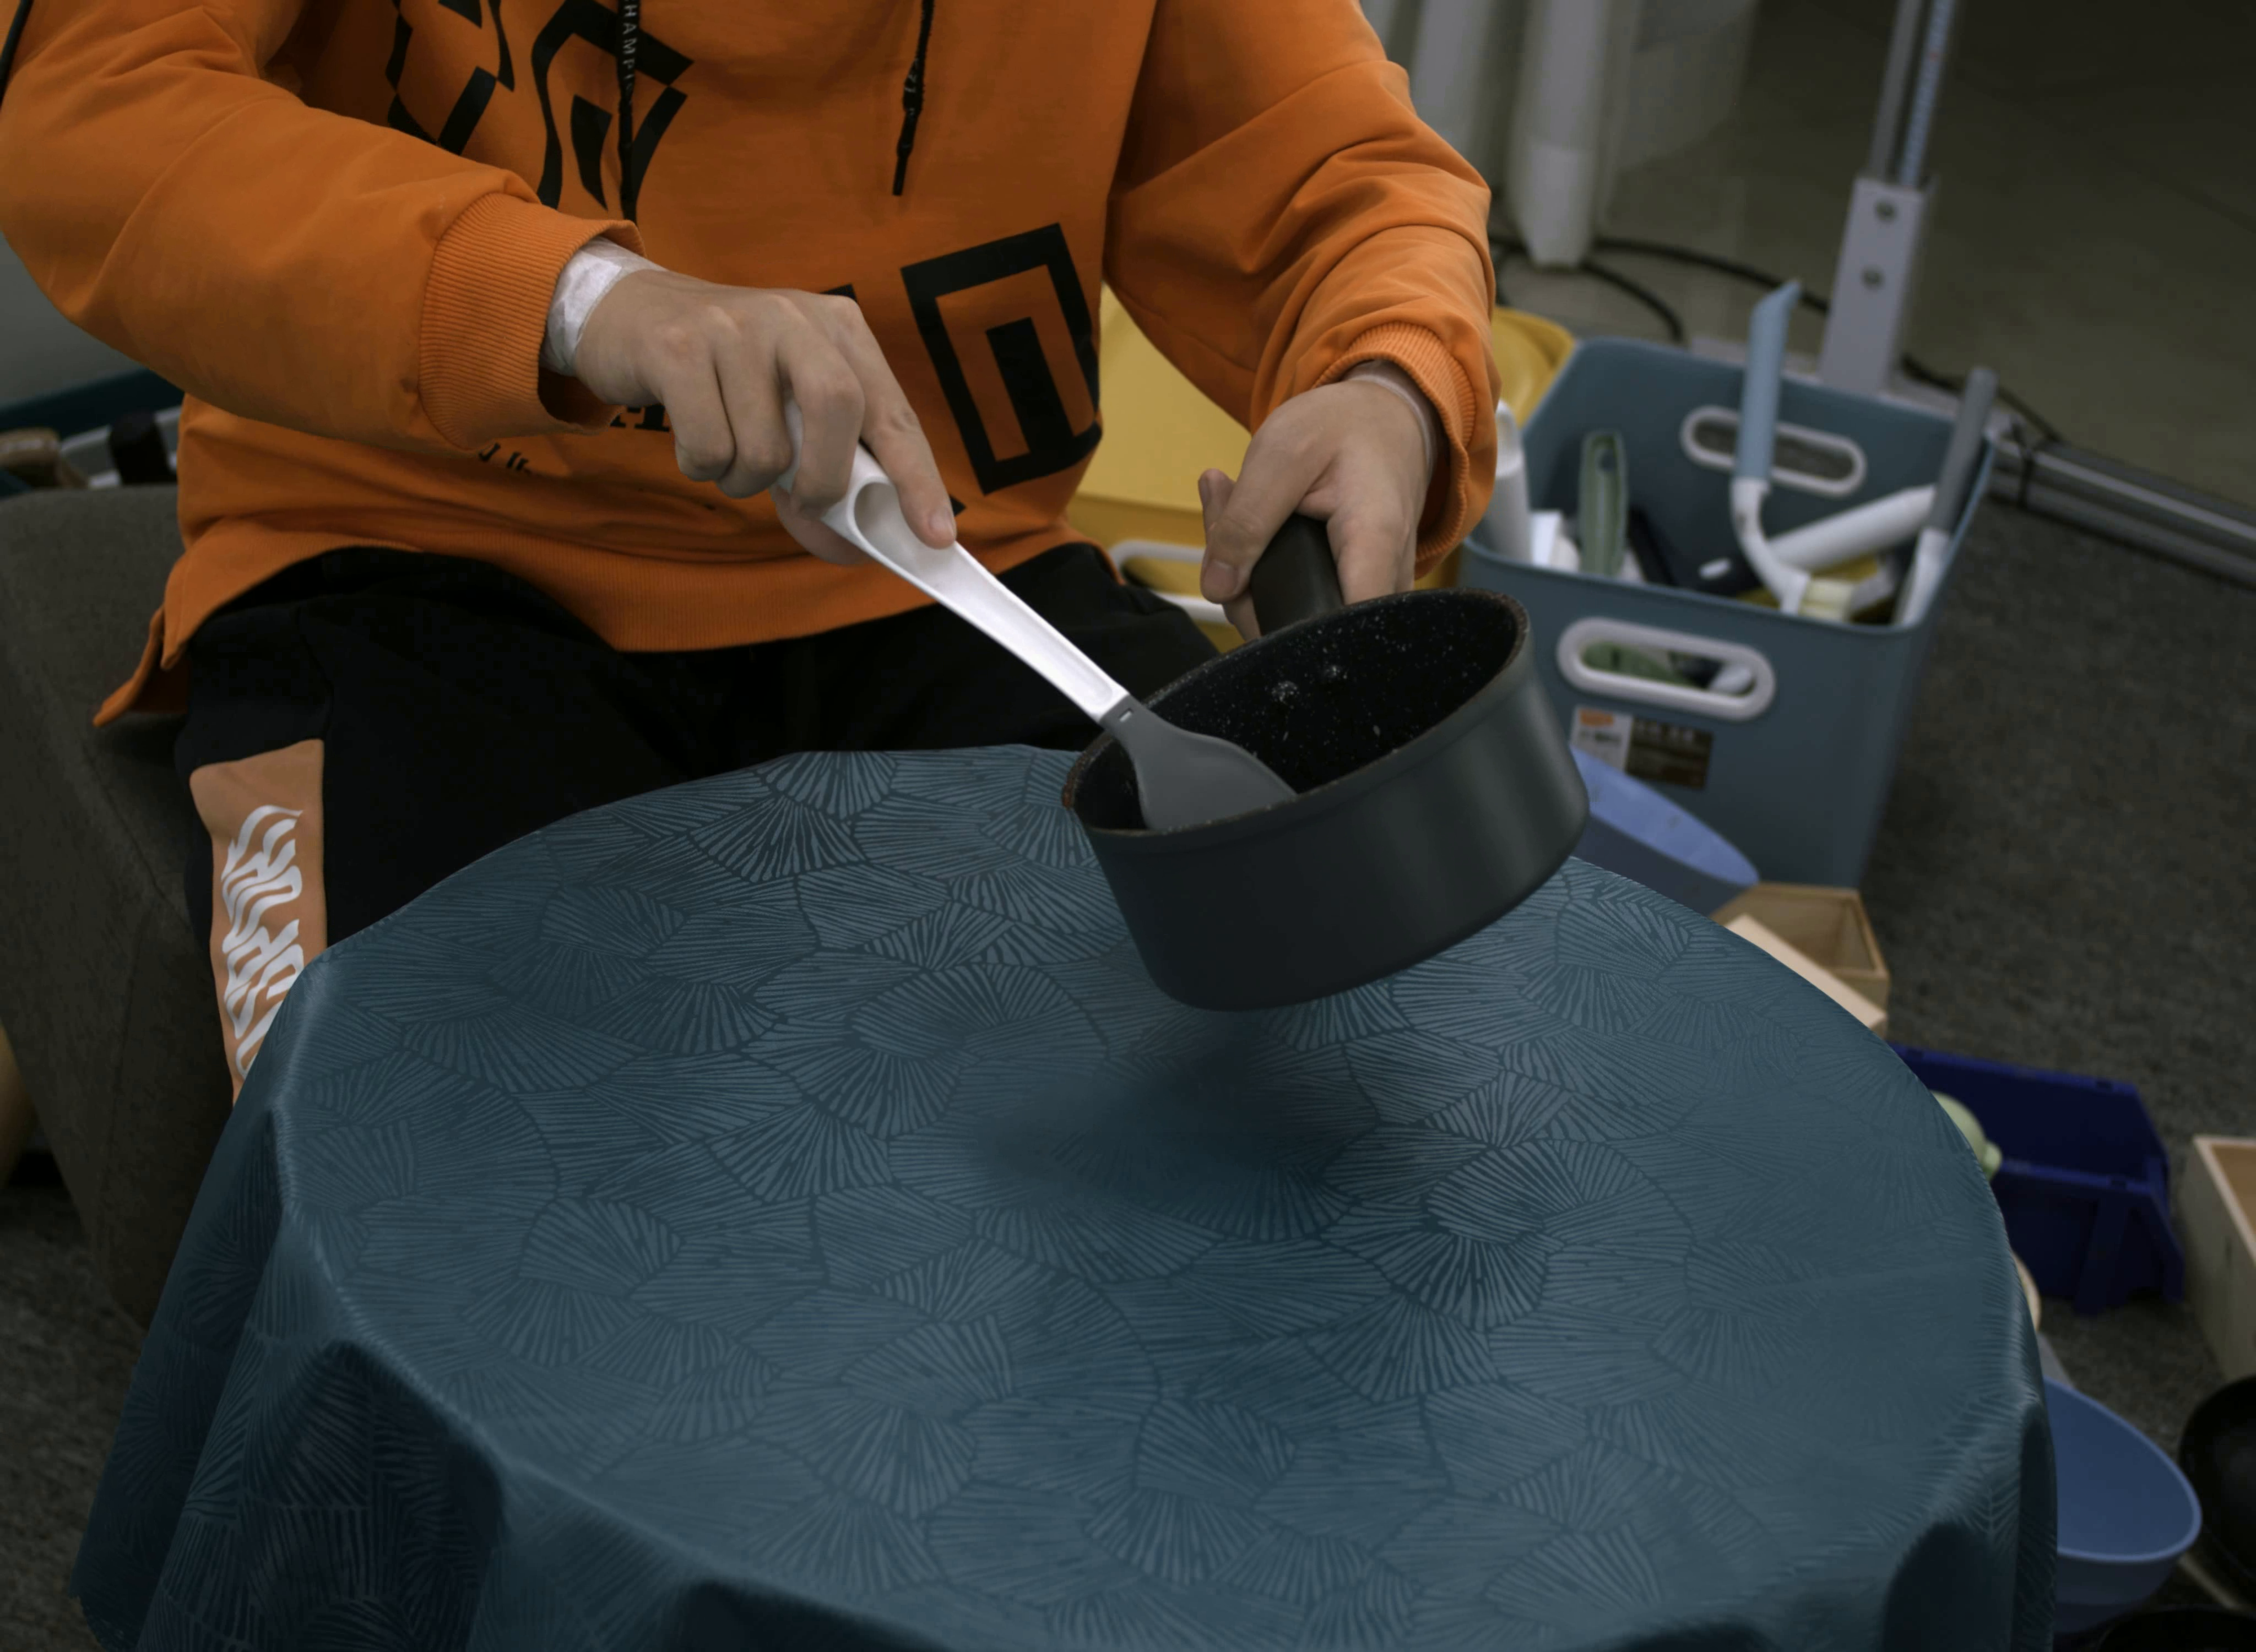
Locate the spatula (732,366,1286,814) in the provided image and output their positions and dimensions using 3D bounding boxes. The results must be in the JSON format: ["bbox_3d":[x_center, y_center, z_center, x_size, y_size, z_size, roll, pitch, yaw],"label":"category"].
[{"bbox_3d":[-0.029,-0.058,1.837,0.058,0.032,0.289,-39,71,-23],"label":"spatula"}]

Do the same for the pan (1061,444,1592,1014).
[{"bbox_3d":[0.072,-0.041,1.886,0.172,0.086,0.330,-19,21,11],"label":"pan"}]
